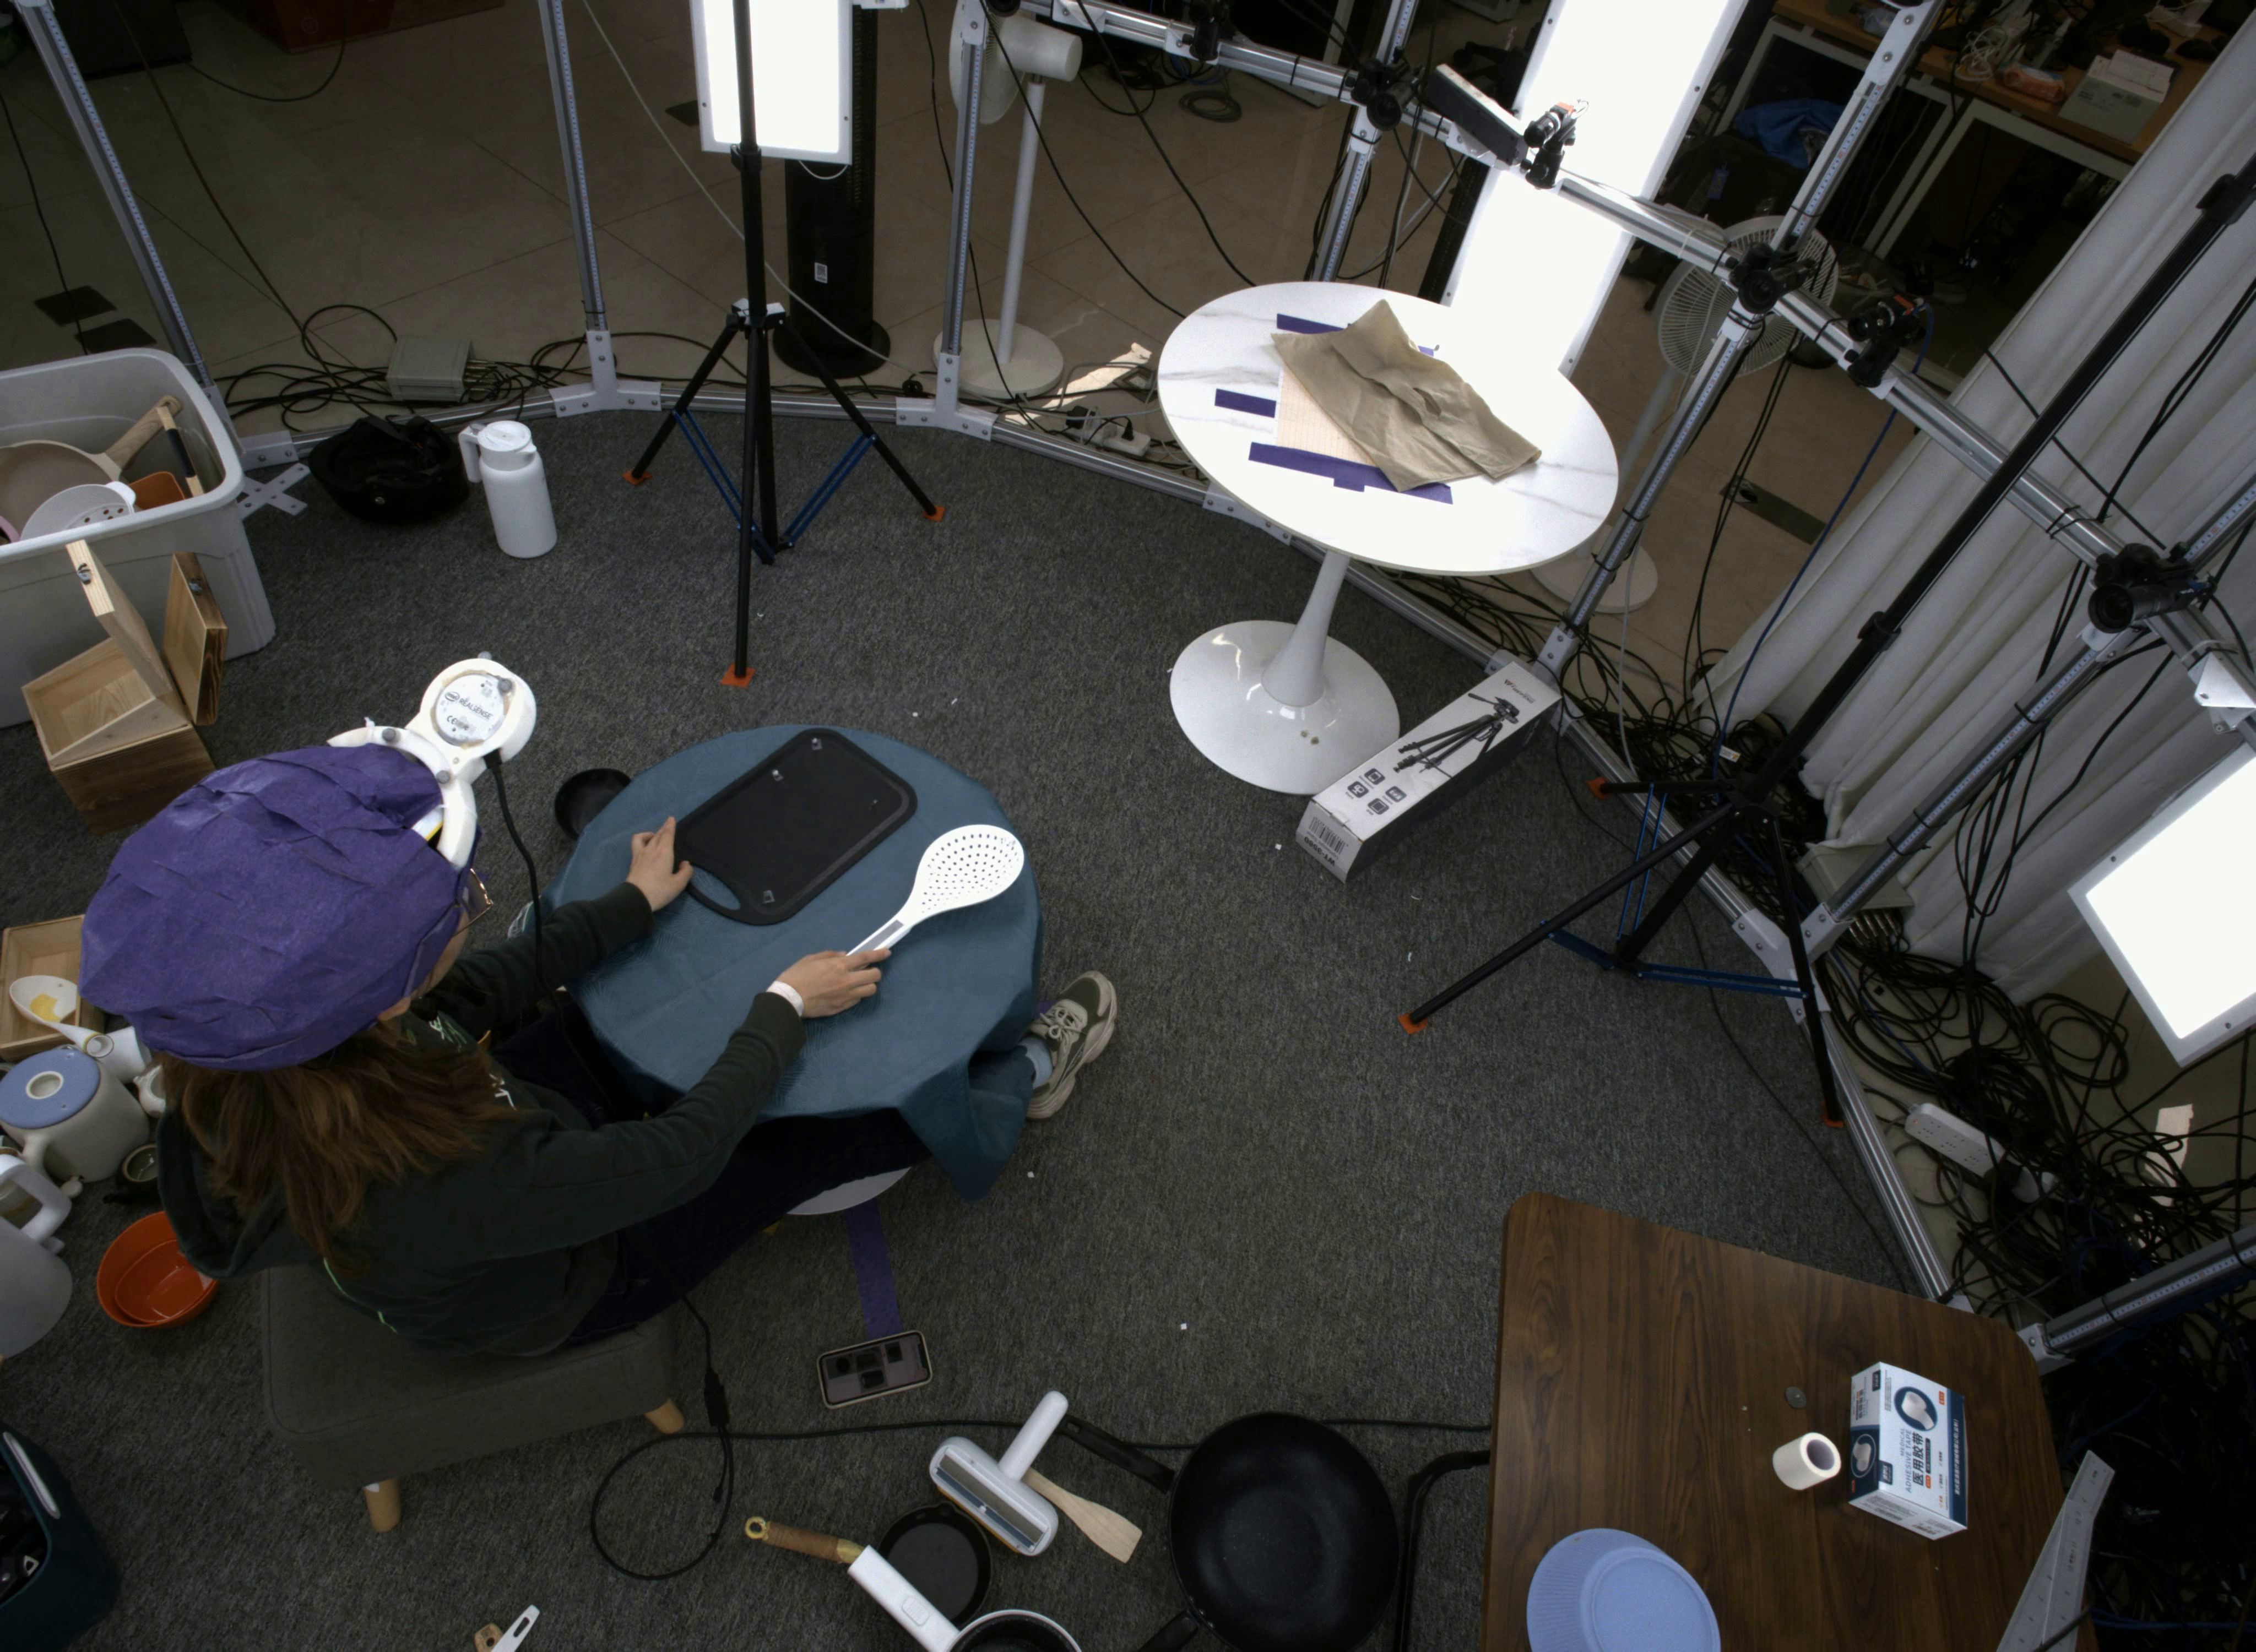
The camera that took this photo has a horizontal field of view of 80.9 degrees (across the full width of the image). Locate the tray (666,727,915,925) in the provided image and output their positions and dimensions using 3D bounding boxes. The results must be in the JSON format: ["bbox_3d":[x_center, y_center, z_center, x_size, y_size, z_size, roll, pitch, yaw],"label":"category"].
[{"bbox_3d":[-0.449,-0.004,1.721,0.207,0.010,0.325,36,54,13],"label":"tray"}]

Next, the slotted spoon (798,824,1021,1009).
[{"bbox_3d":[-0.276,0.112,1.652,0.131,0.047,0.350,30,51,31],"label":"slotted spoon"}]
